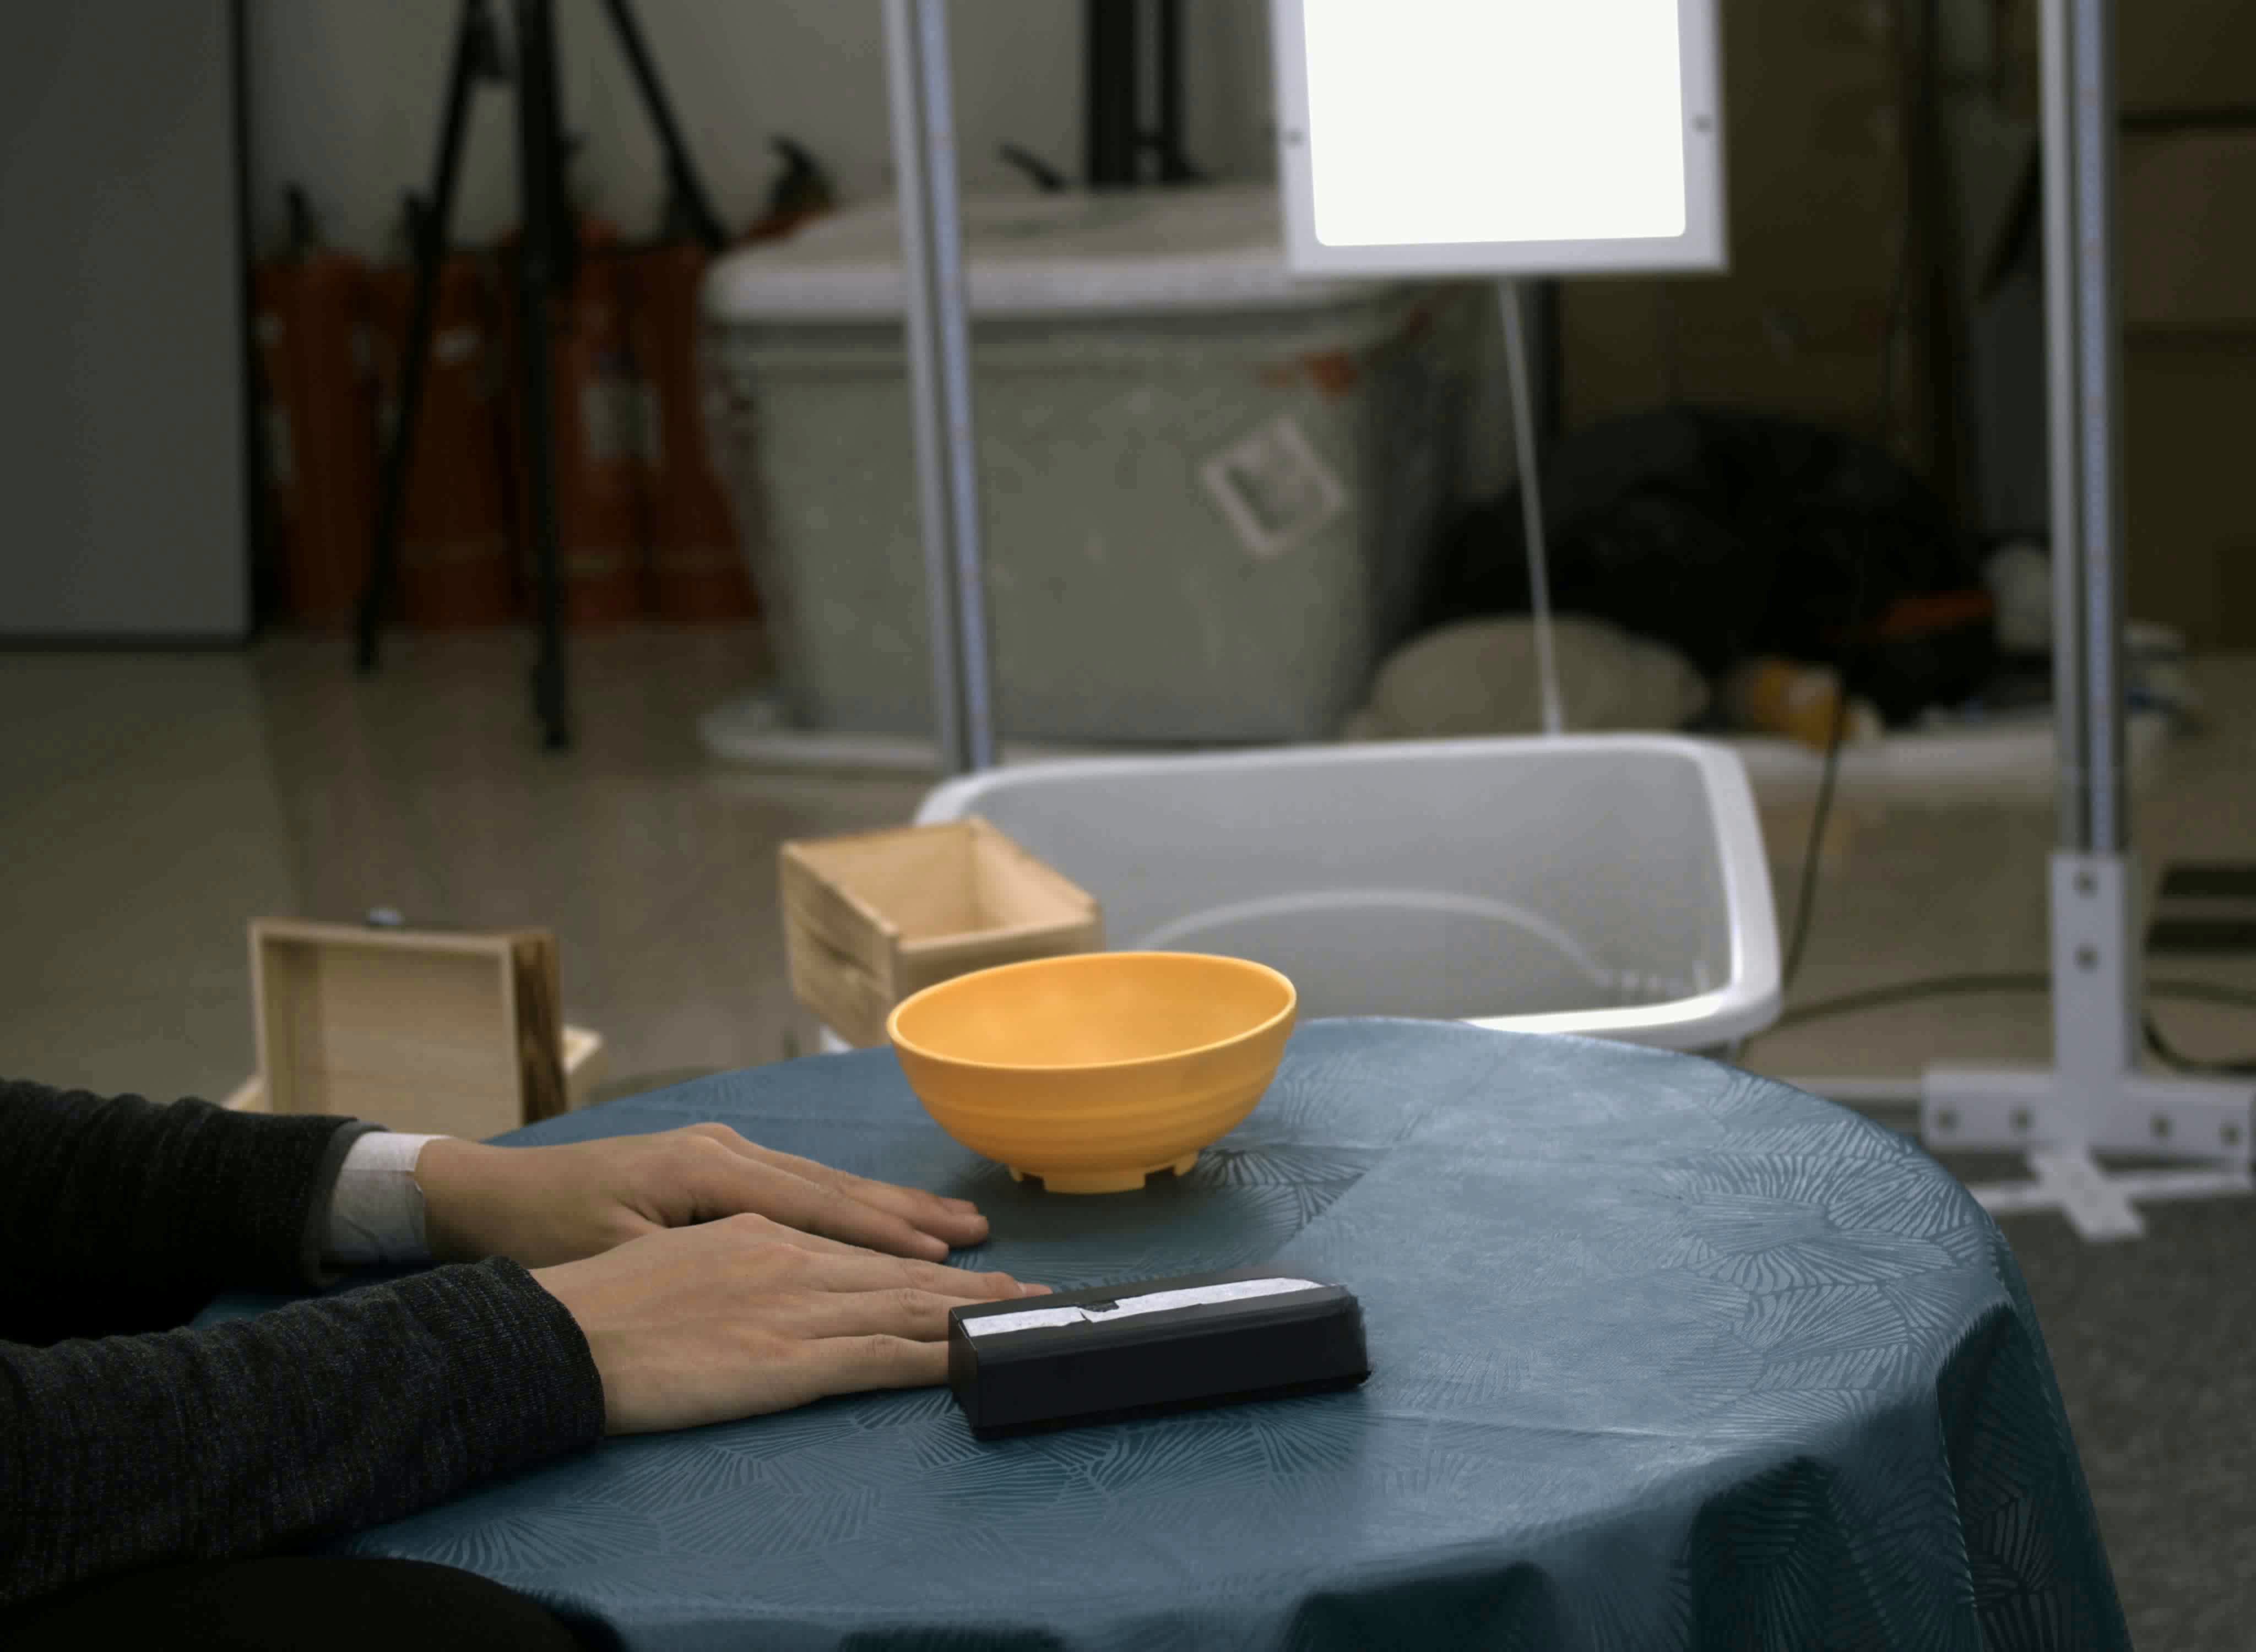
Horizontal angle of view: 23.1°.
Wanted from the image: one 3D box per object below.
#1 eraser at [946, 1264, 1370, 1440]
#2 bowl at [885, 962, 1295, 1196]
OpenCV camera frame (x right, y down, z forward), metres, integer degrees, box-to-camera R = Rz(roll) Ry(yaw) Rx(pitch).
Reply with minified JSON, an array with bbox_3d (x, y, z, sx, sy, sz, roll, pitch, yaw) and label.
[{"bbox_3d":[0.010,0.161,1.695,0.124,0.030,0.054,-8,11,-10],"label":"eraser"},{"bbox_3d":[-0.010,0.092,1.921,0.145,0.060,0.145,-6,12,0],"label":"bowl"}]
